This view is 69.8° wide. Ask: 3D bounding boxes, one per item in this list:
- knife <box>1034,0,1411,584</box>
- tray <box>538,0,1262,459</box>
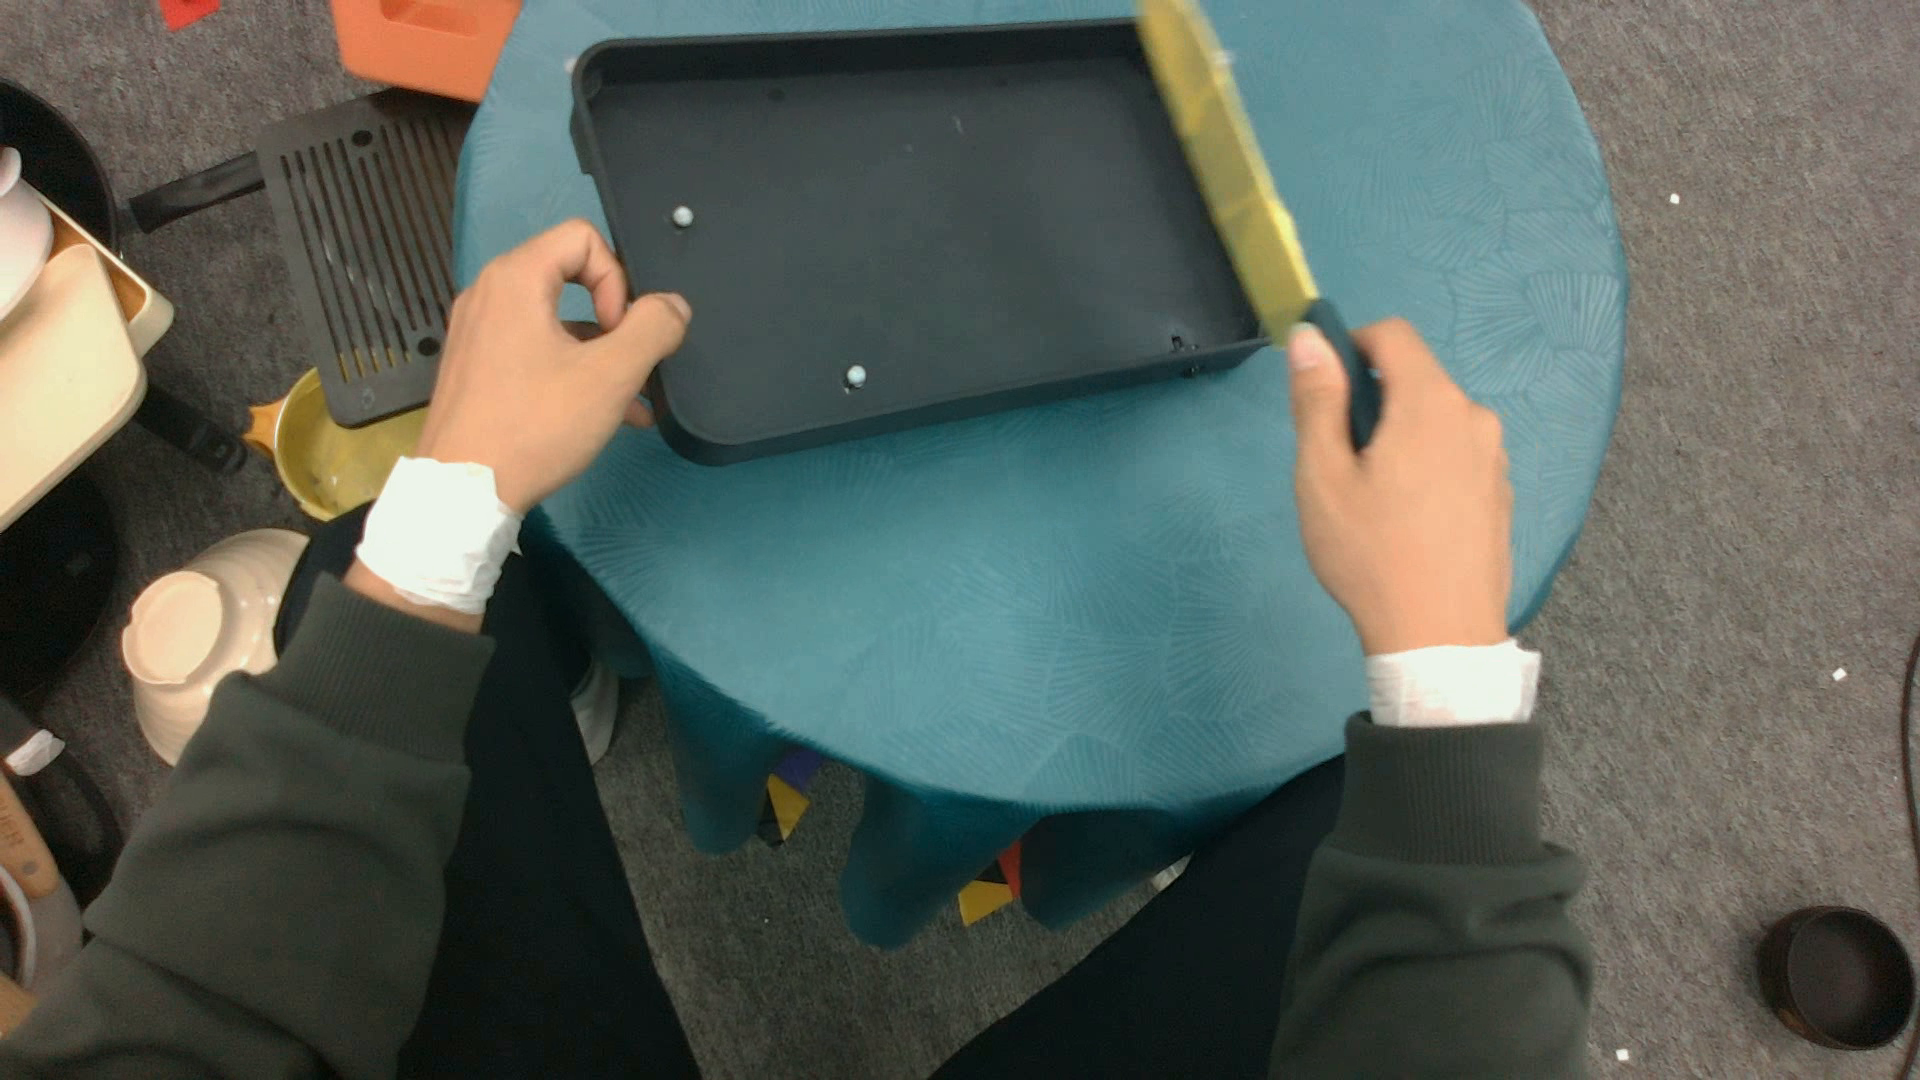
[{"bbox_3d":[0.103,-0.108,0.573,0.027,0.081,0.289,-31,89,-2],"label":"knife"},{"bbox_3d":[-0.016,-0.152,0.631,0.319,0.037,0.184,-15,80,-29],"label":"tray"}]
